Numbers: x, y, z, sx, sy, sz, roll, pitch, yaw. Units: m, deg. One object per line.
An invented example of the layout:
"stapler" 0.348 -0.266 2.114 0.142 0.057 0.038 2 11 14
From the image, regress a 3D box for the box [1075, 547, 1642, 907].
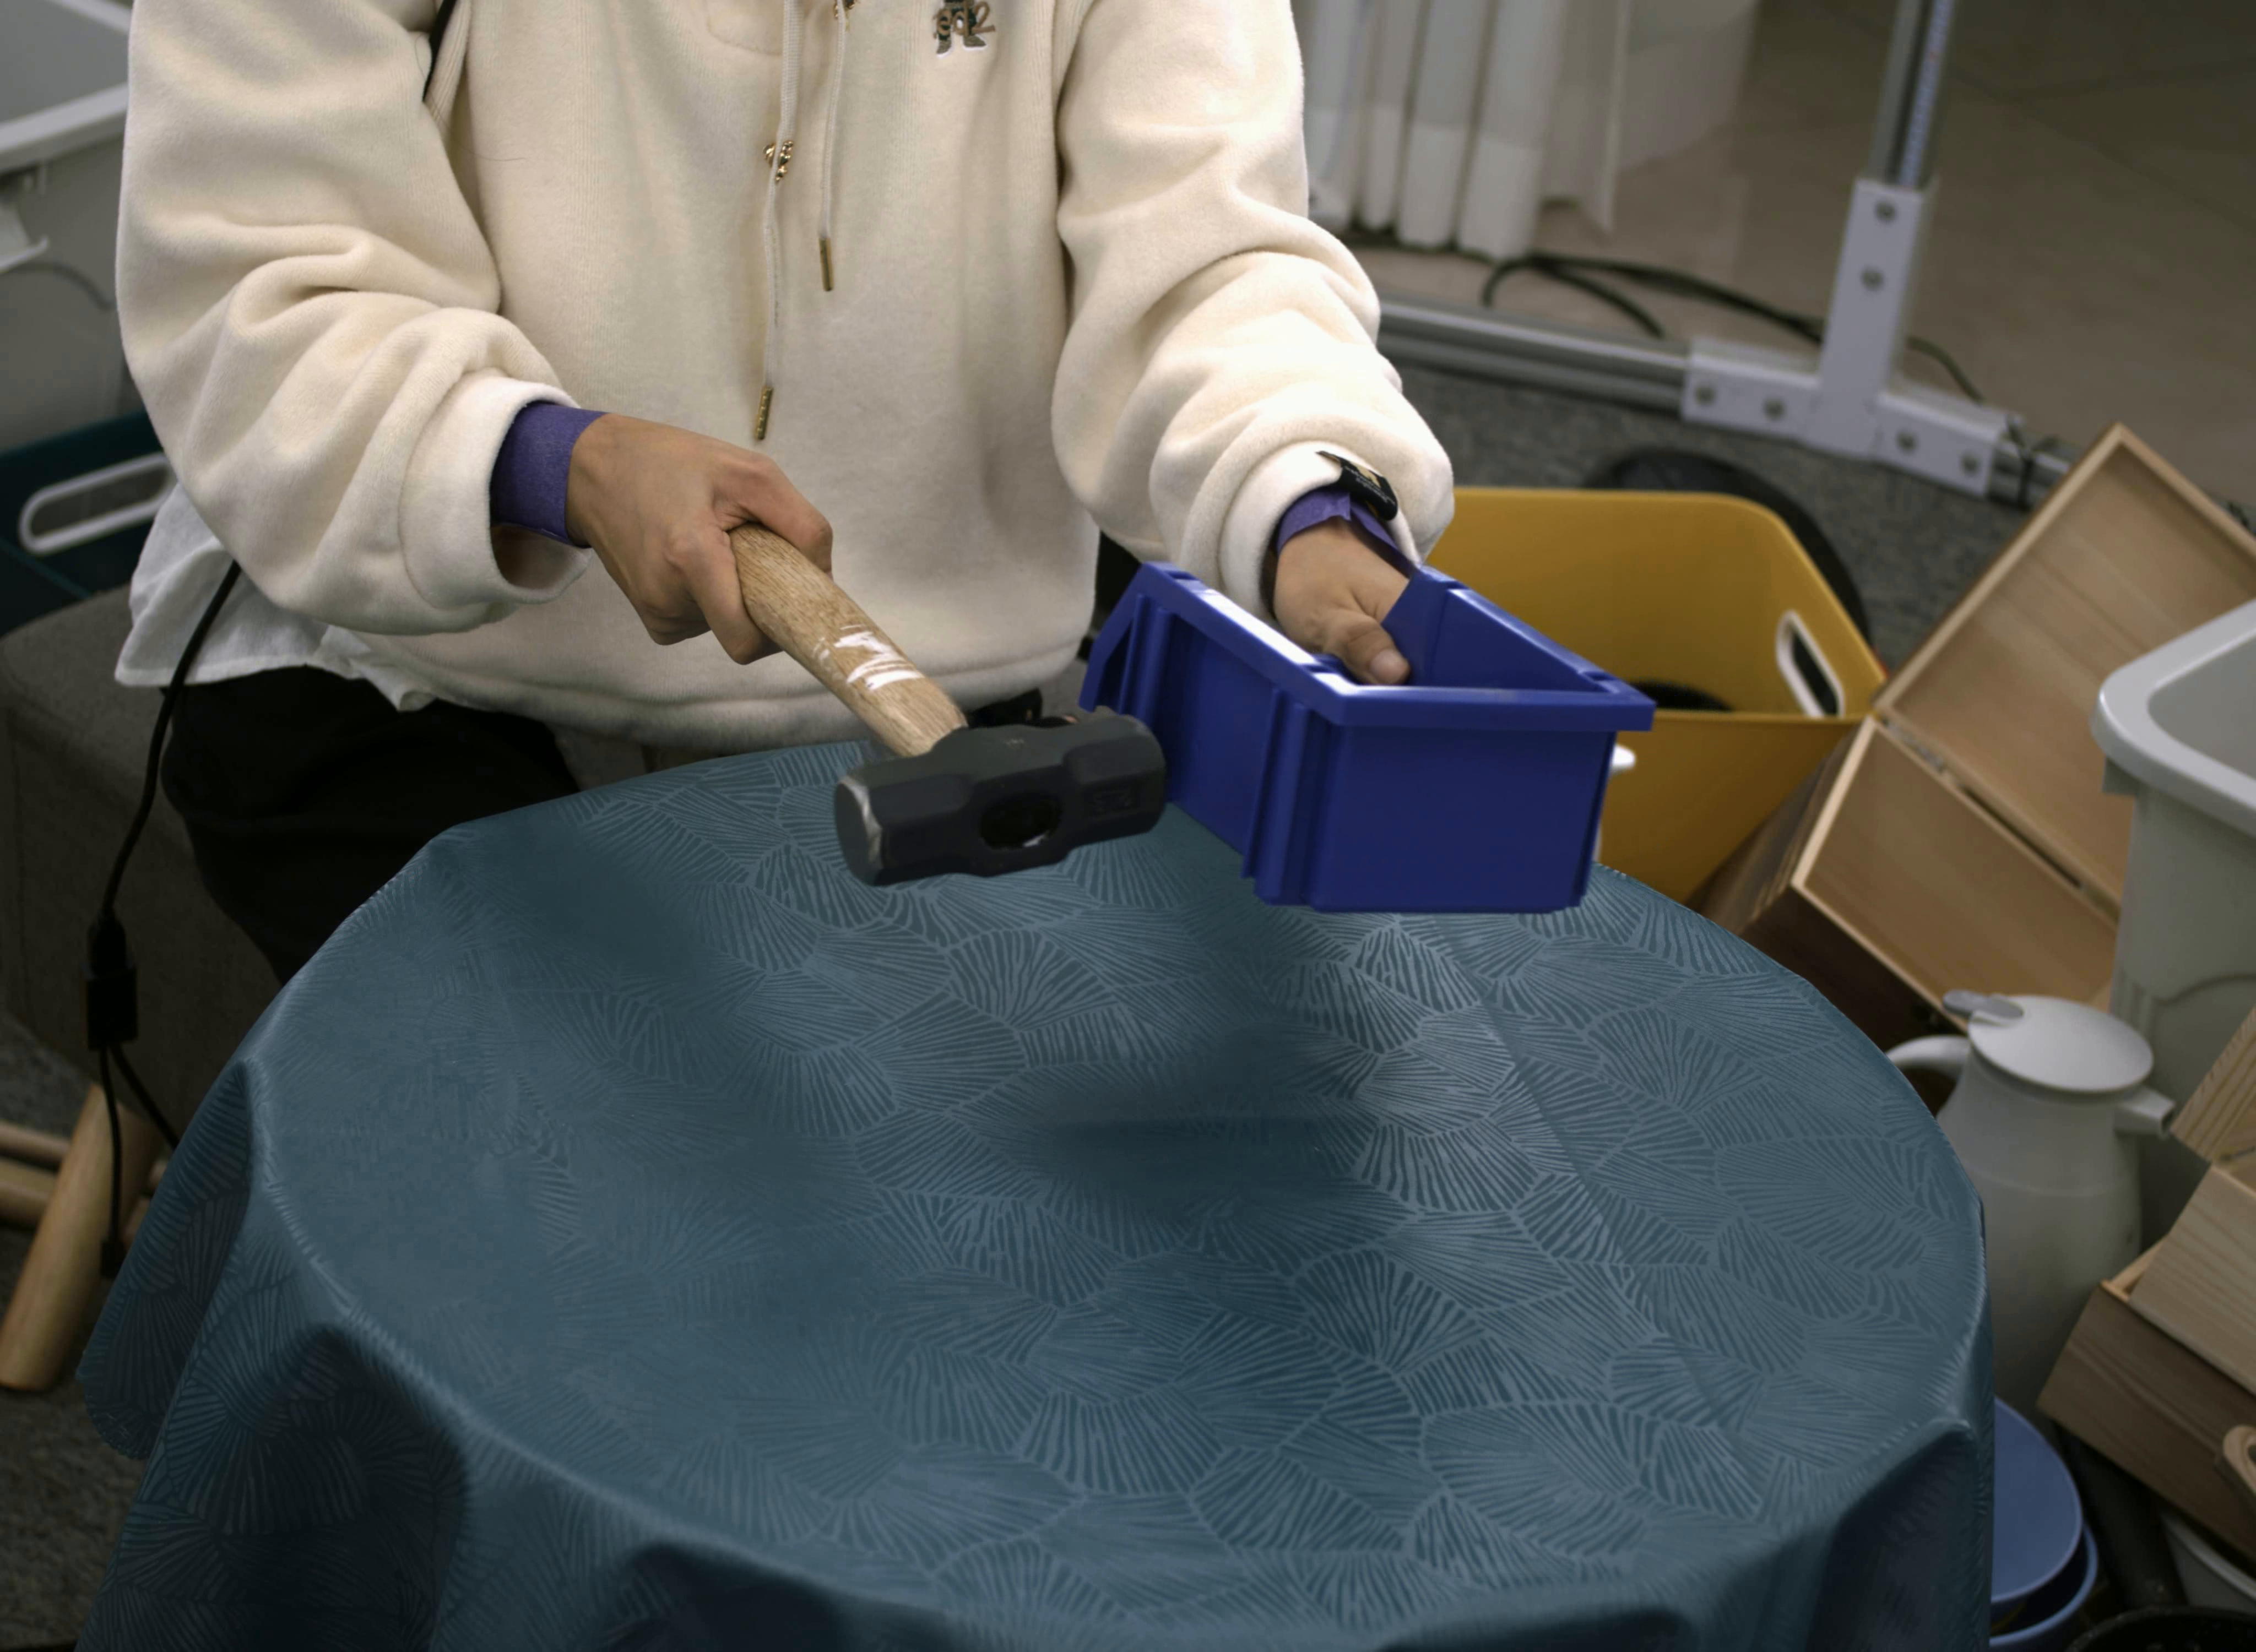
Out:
"box" 0.072 -0.037 1.816 0.123 0.082 0.181 1 21 -26

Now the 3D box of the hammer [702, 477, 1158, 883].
"hammer" -0.092 -0.060 1.849 0.107 0.038 0.308 -11 26 -17
